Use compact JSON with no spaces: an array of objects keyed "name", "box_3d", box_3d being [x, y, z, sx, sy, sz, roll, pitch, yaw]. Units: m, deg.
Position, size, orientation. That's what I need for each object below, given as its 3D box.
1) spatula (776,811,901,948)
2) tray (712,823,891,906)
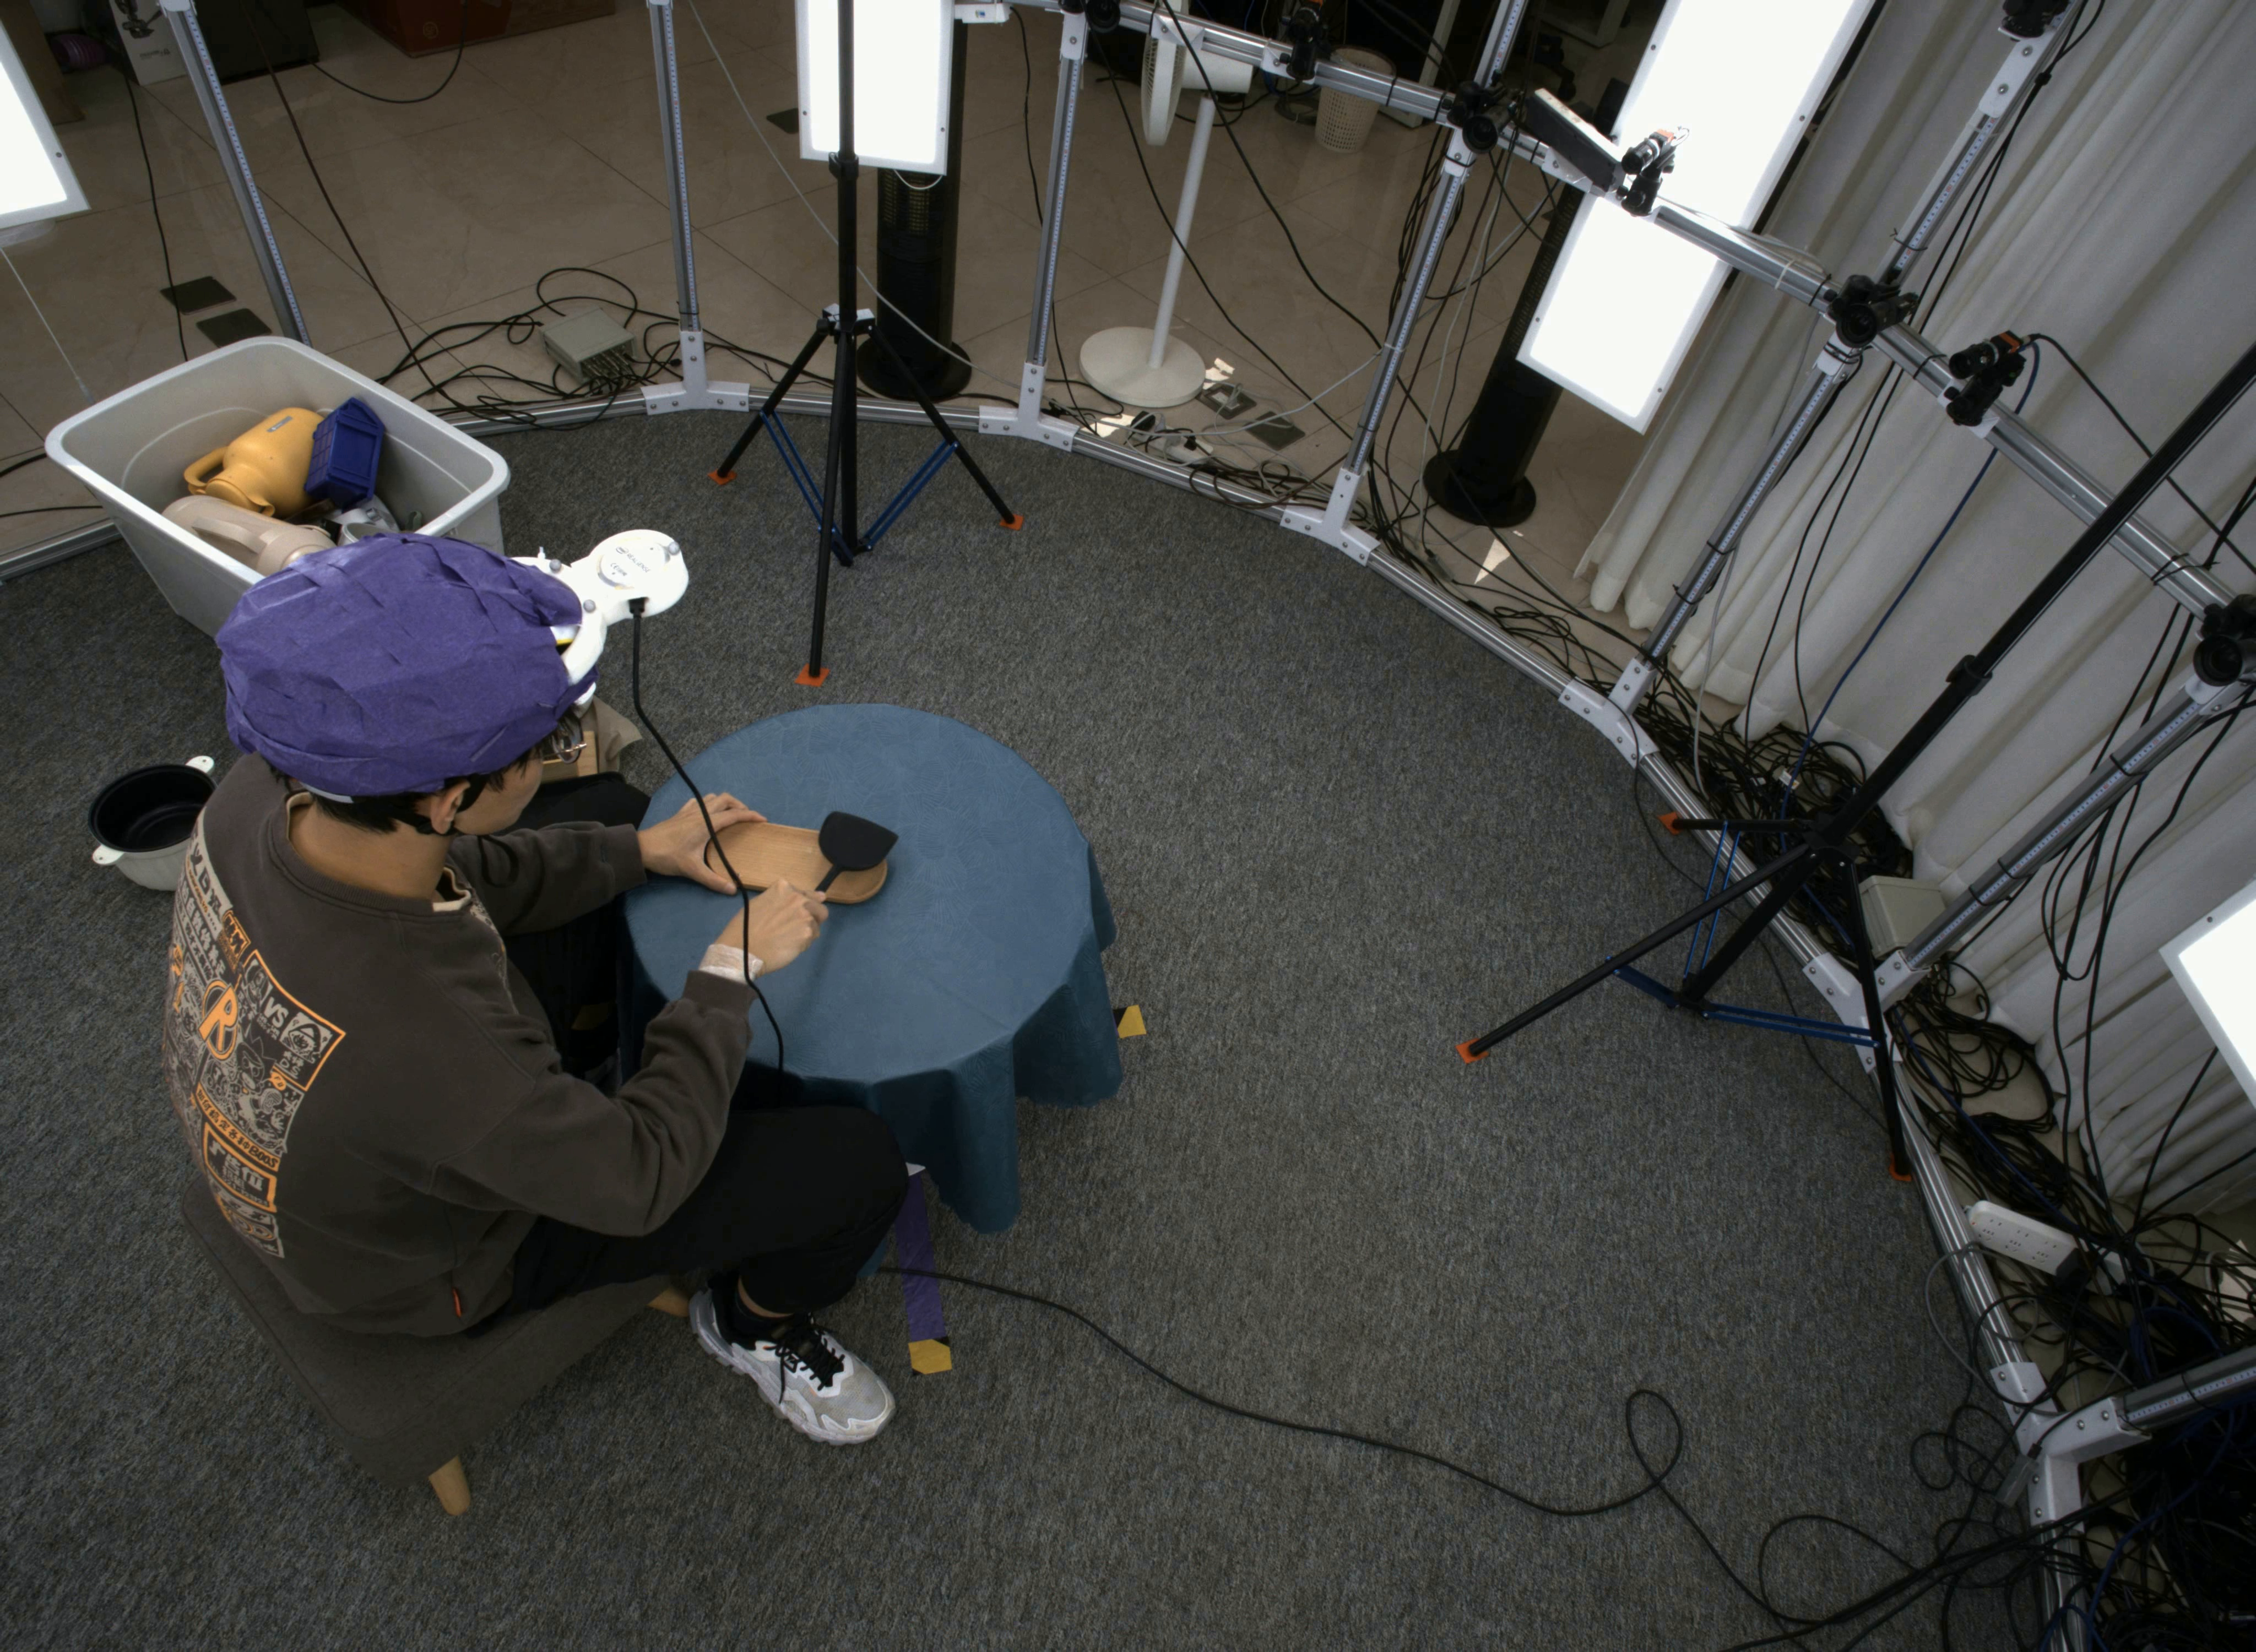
[{"name":"spatula","box_3d":[-0.362,0.063,1.570,0.099,0.041,0.322,21,21,-2]},{"name":"tray","box_3d":[-0.426,0.049,1.692,0.230,0.021,0.100,10,54,-8]}]
